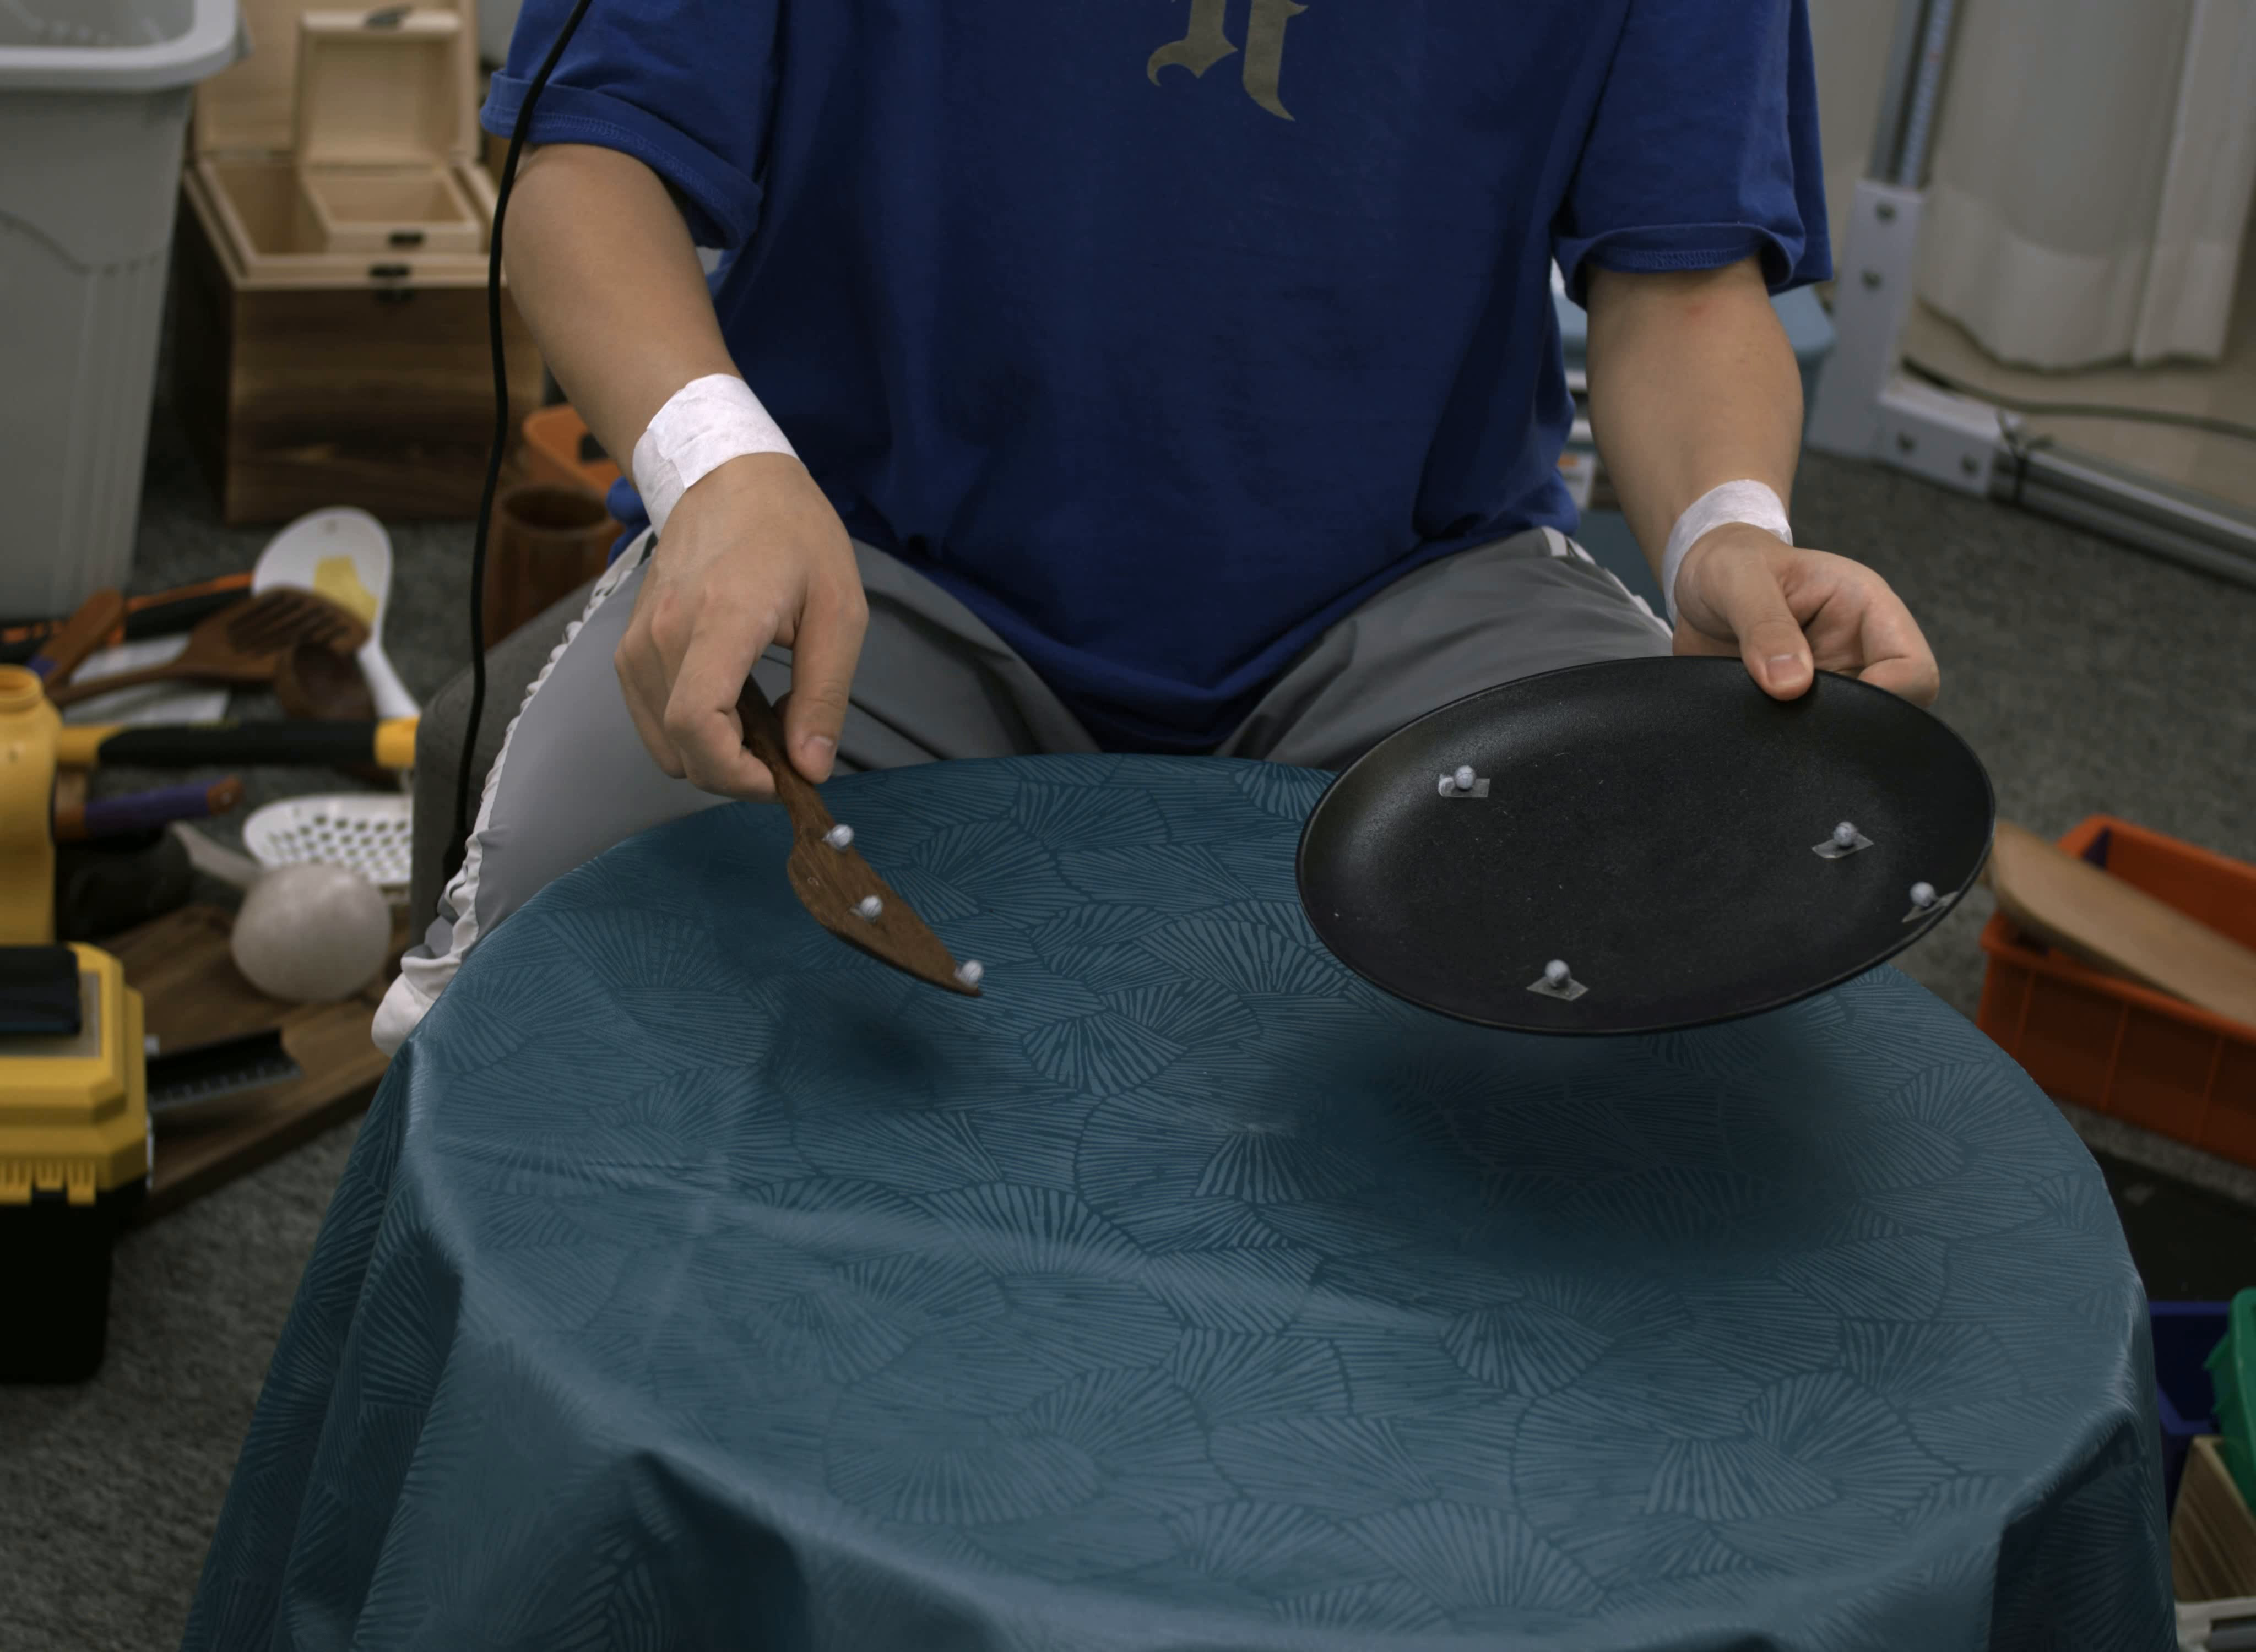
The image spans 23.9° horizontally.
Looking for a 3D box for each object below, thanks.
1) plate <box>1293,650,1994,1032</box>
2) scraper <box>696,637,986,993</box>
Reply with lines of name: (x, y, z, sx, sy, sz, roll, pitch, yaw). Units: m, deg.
plate: (0.179, 0.009, 1.848, 0.244, 0.023, 0.246, -8, 31, 4)
scraper: (-0.113, -0.007, 1.905, 0.075, 0.011, 0.213, 26, 20, -38)
